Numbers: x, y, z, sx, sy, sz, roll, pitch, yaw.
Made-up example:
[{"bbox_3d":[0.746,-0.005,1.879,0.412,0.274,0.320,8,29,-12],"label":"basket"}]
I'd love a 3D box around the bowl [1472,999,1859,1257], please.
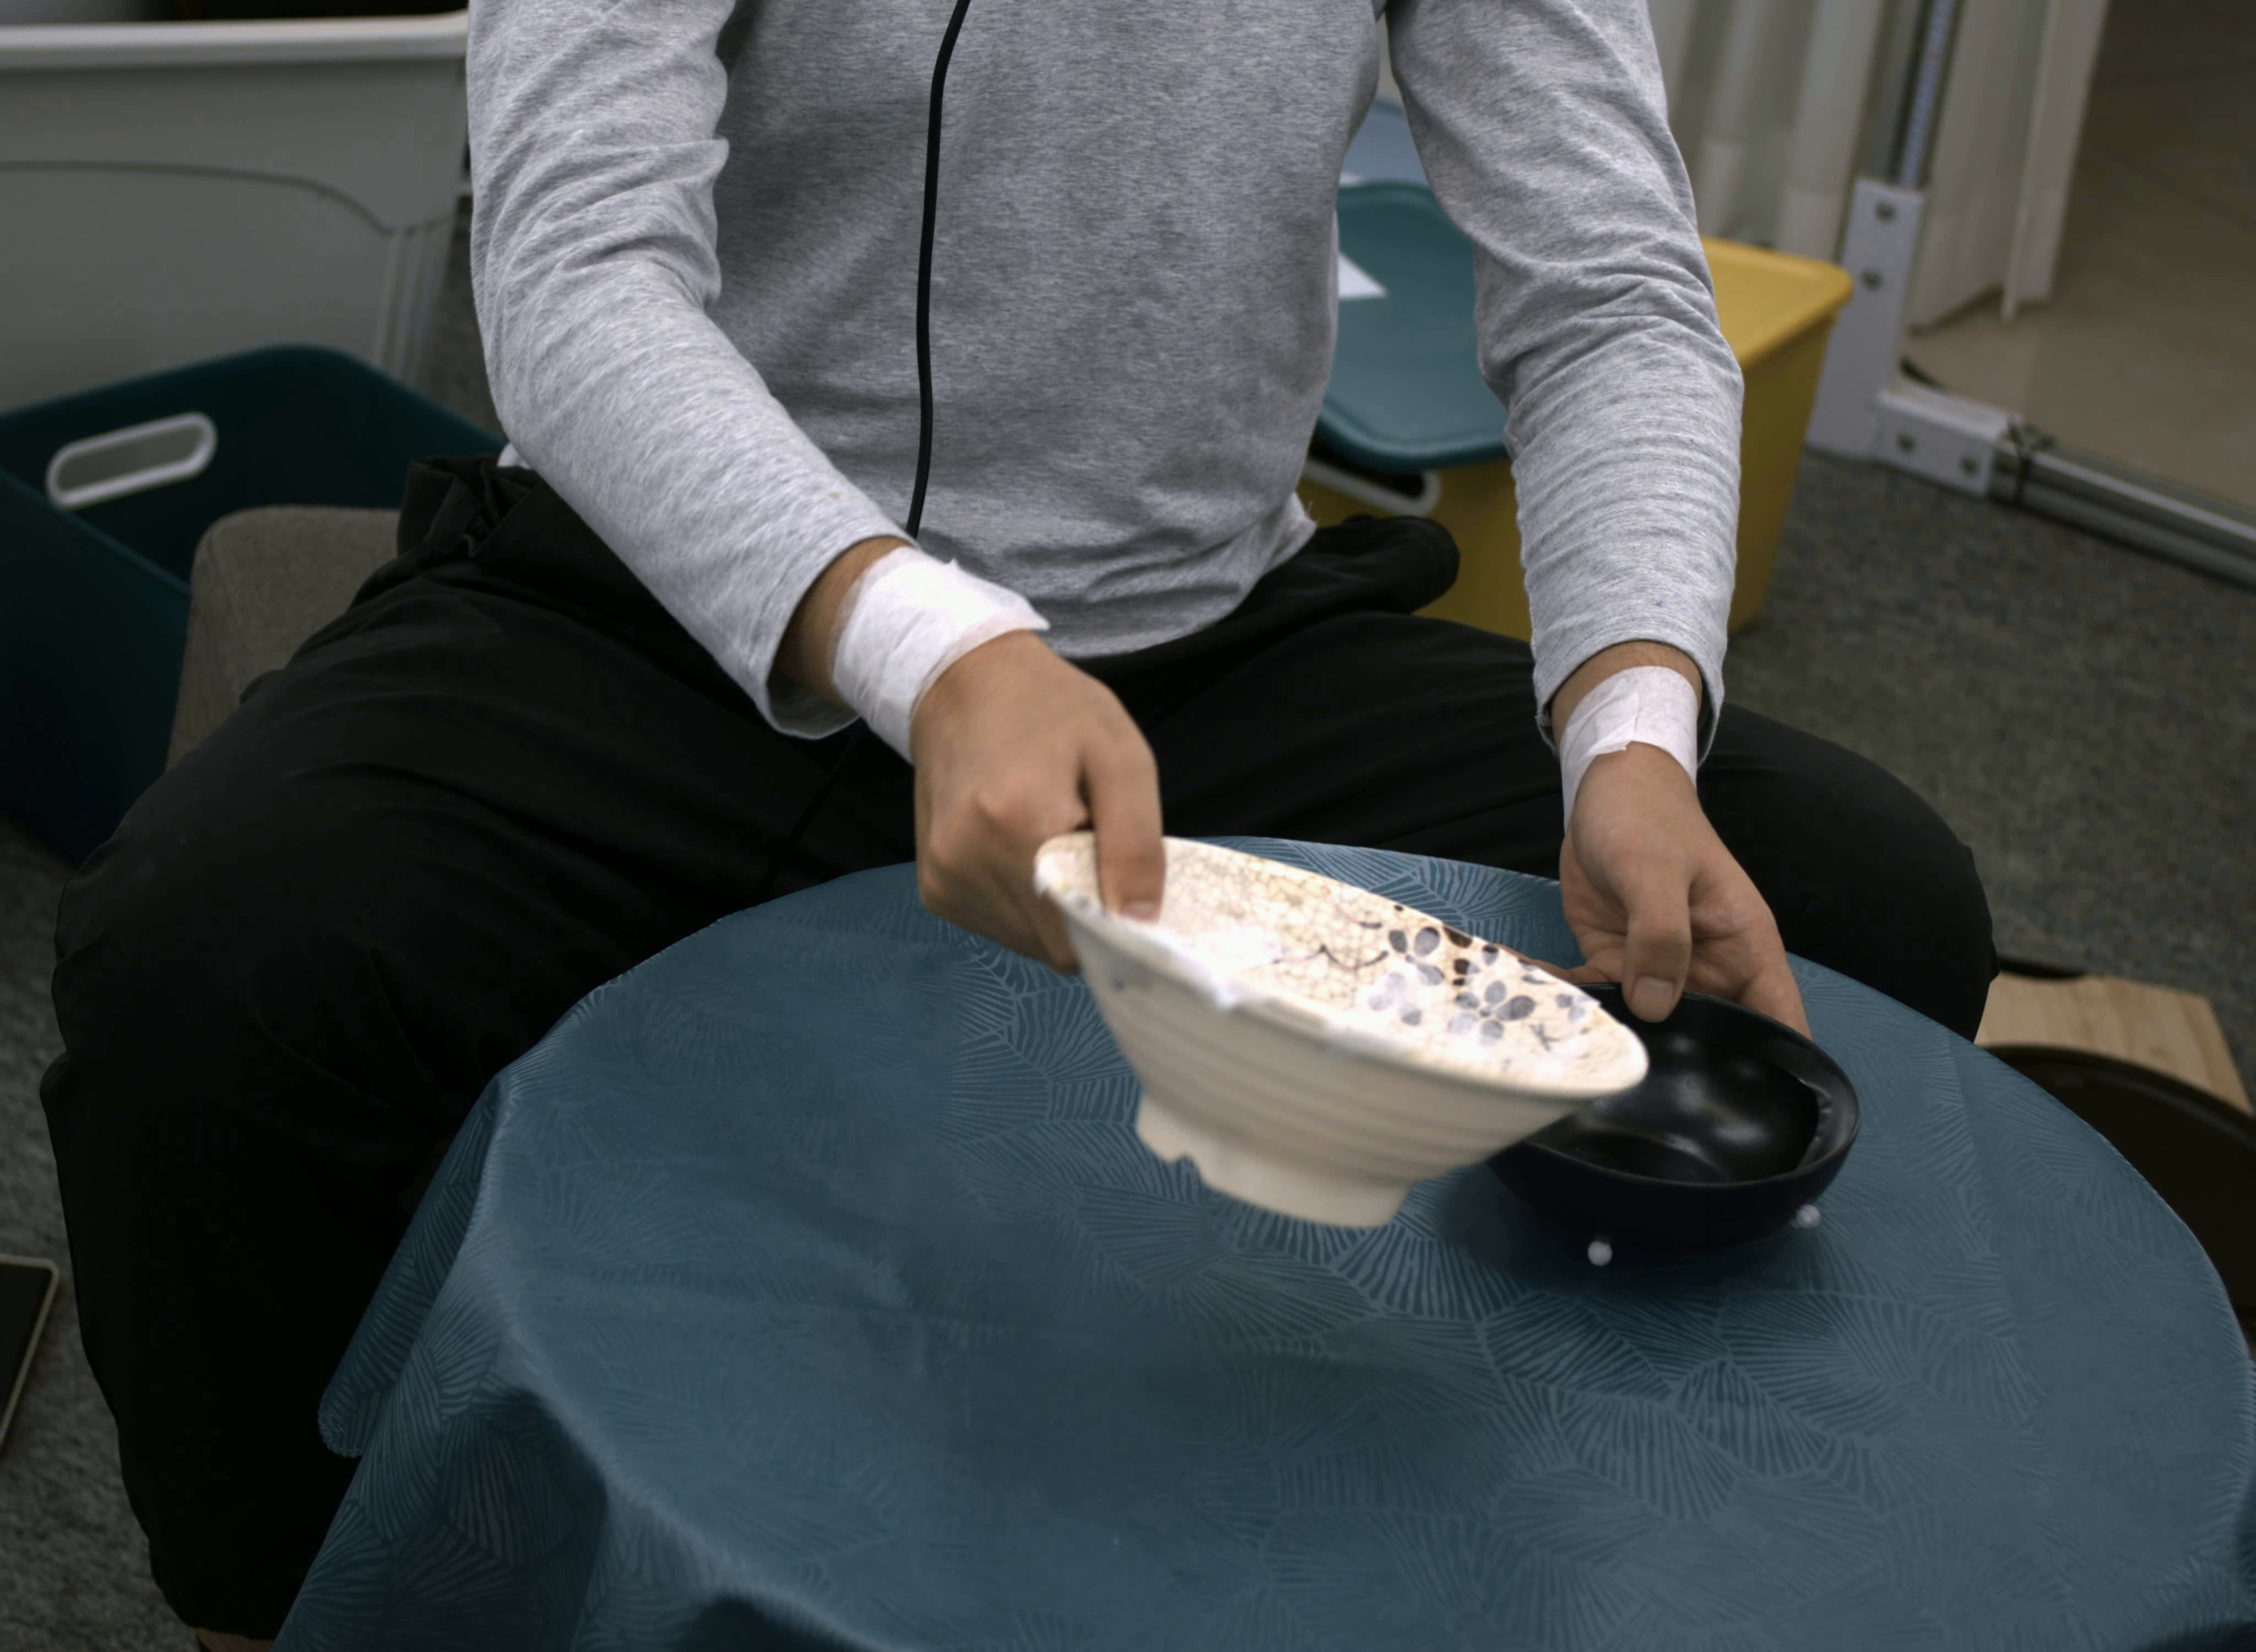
[{"bbox_3d":[0.178,0.110,1.823,0.139,0.049,0.141,6,22,-3],"label":"bowl"}]

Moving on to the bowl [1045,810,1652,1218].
[{"bbox_3d":[0.057,0.070,1.669,0.203,0.078,0.204,20,10,-4],"label":"bowl"}]
